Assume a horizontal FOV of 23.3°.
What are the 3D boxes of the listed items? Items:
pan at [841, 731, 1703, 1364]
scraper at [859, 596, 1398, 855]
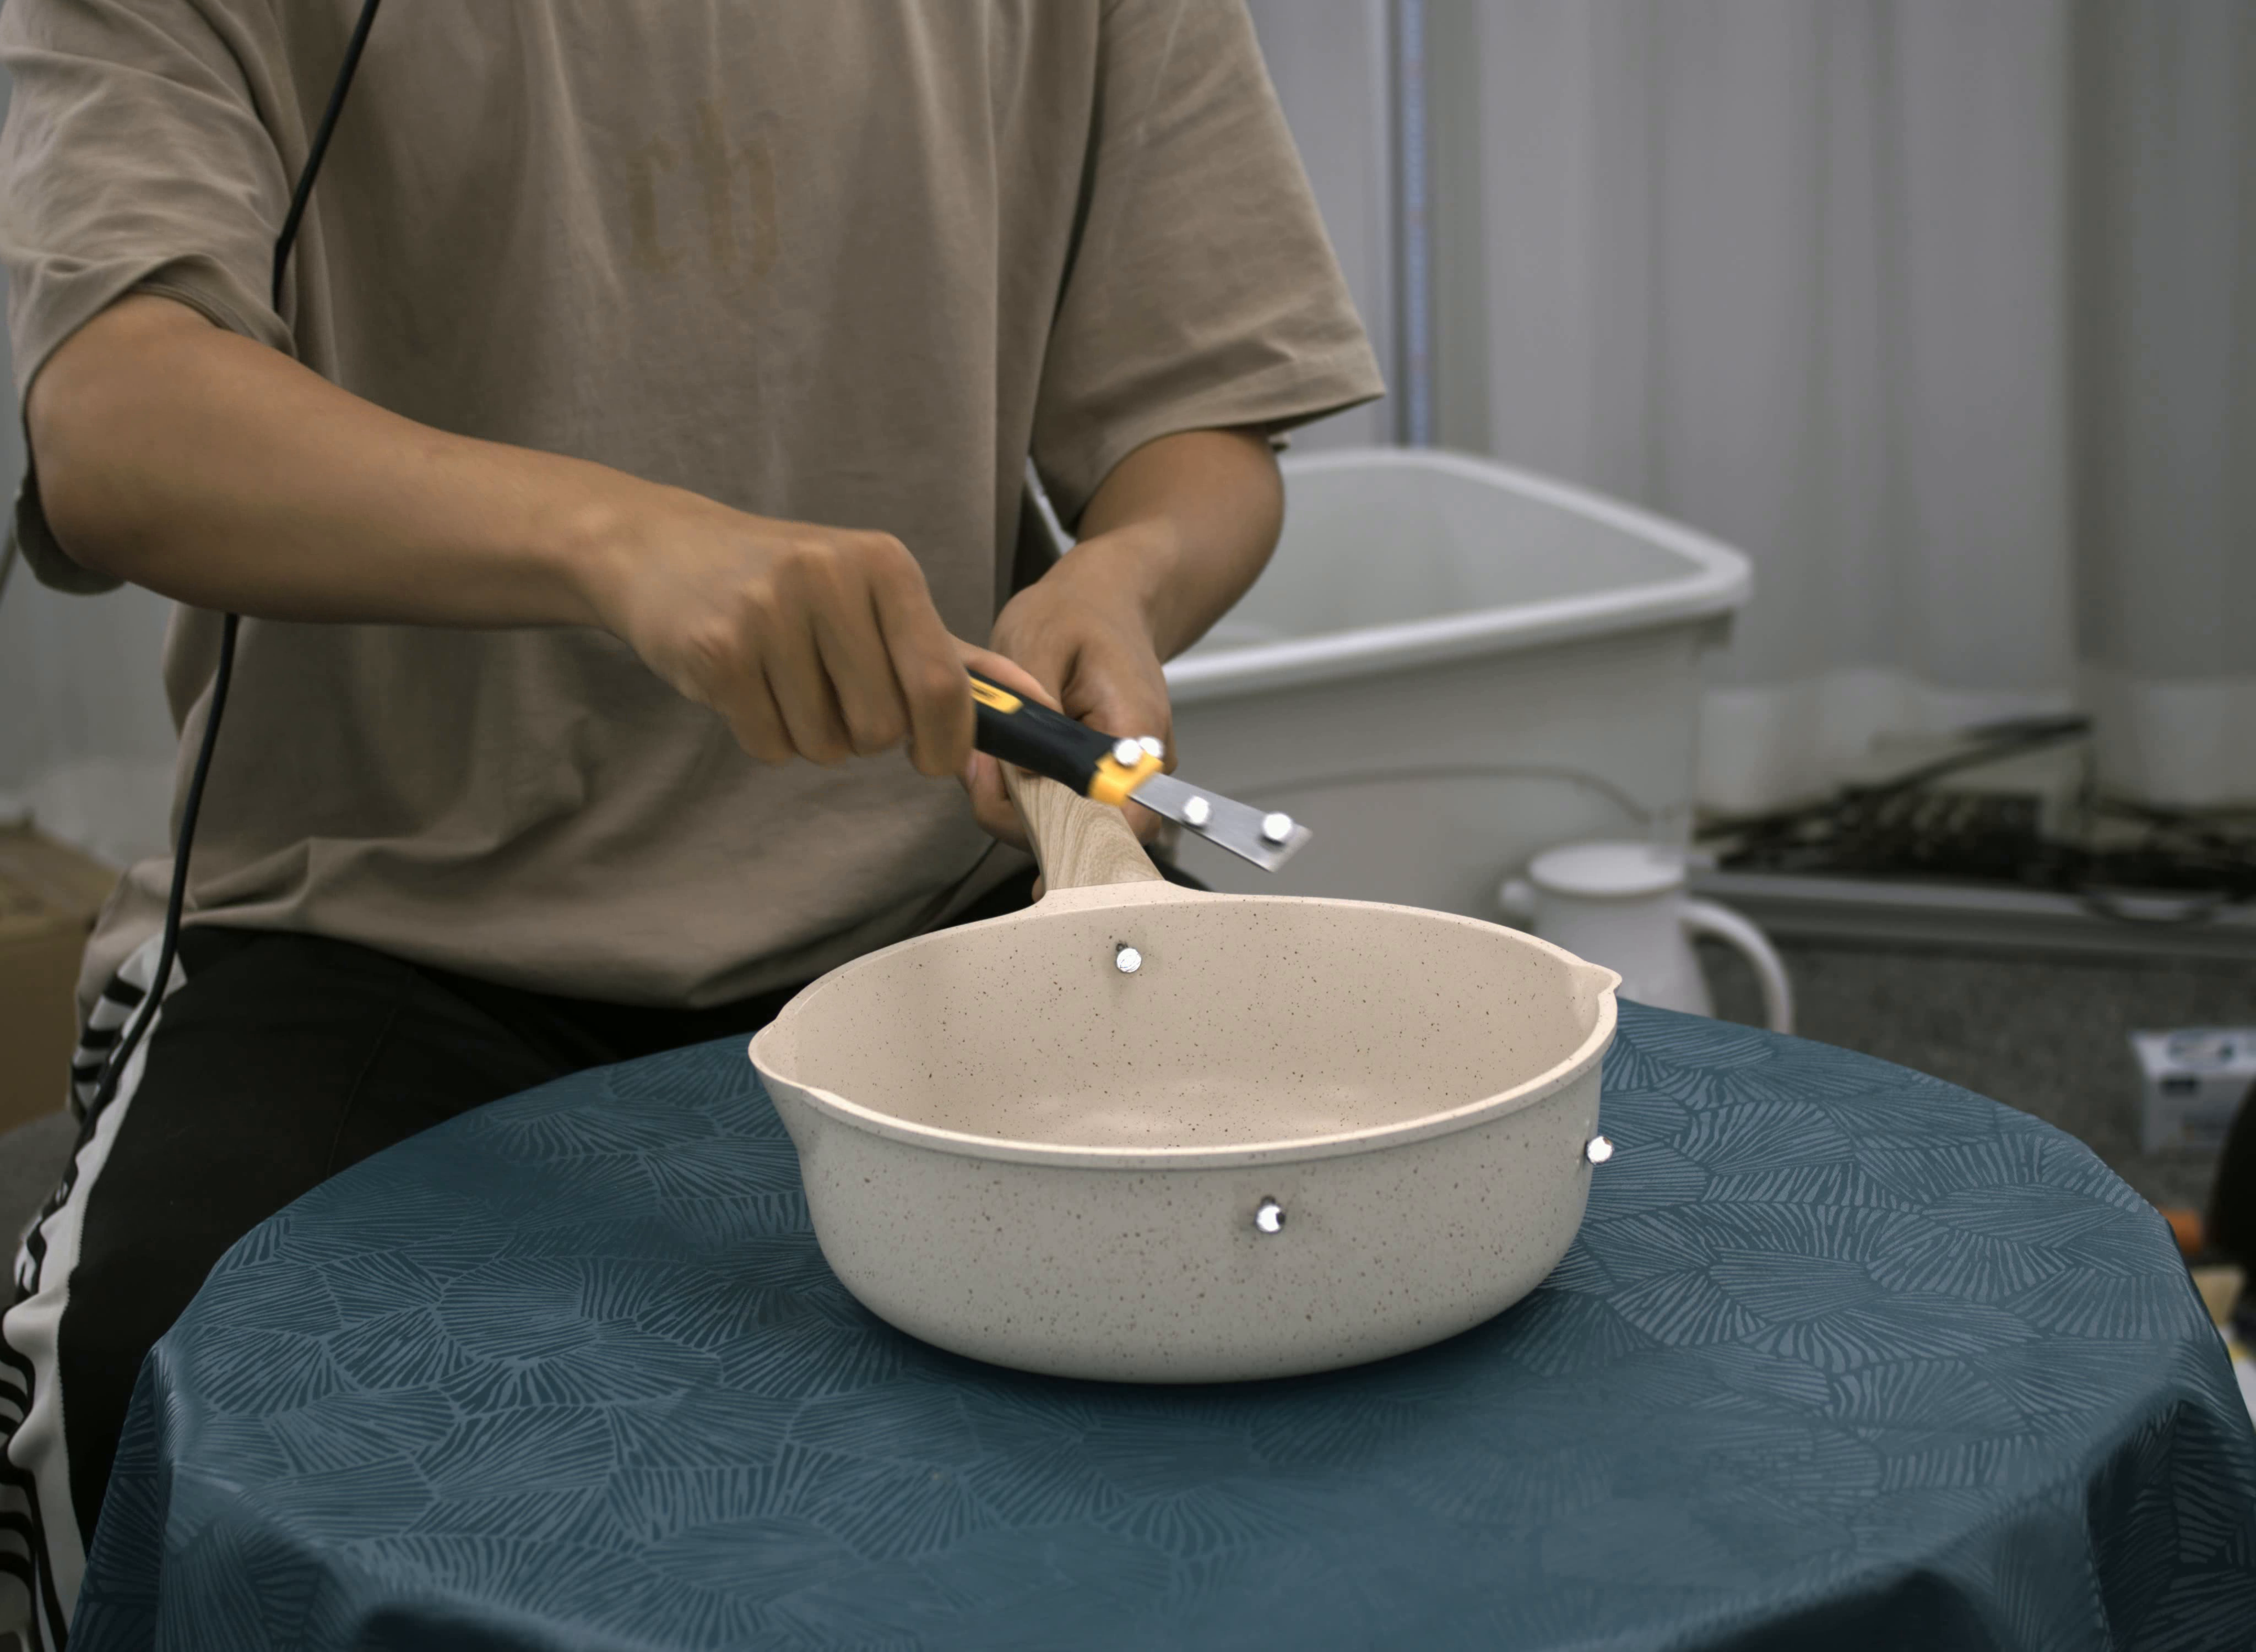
[{"bbox_3d":[0.030,0.060,1.718,0.262,0.101,0.438,-8,15,-9],"label":"pan"},{"bbox_3d":[-0.003,-0.030,1.626,0.171,0.015,0.039,23,35,14],"label":"scraper"}]
